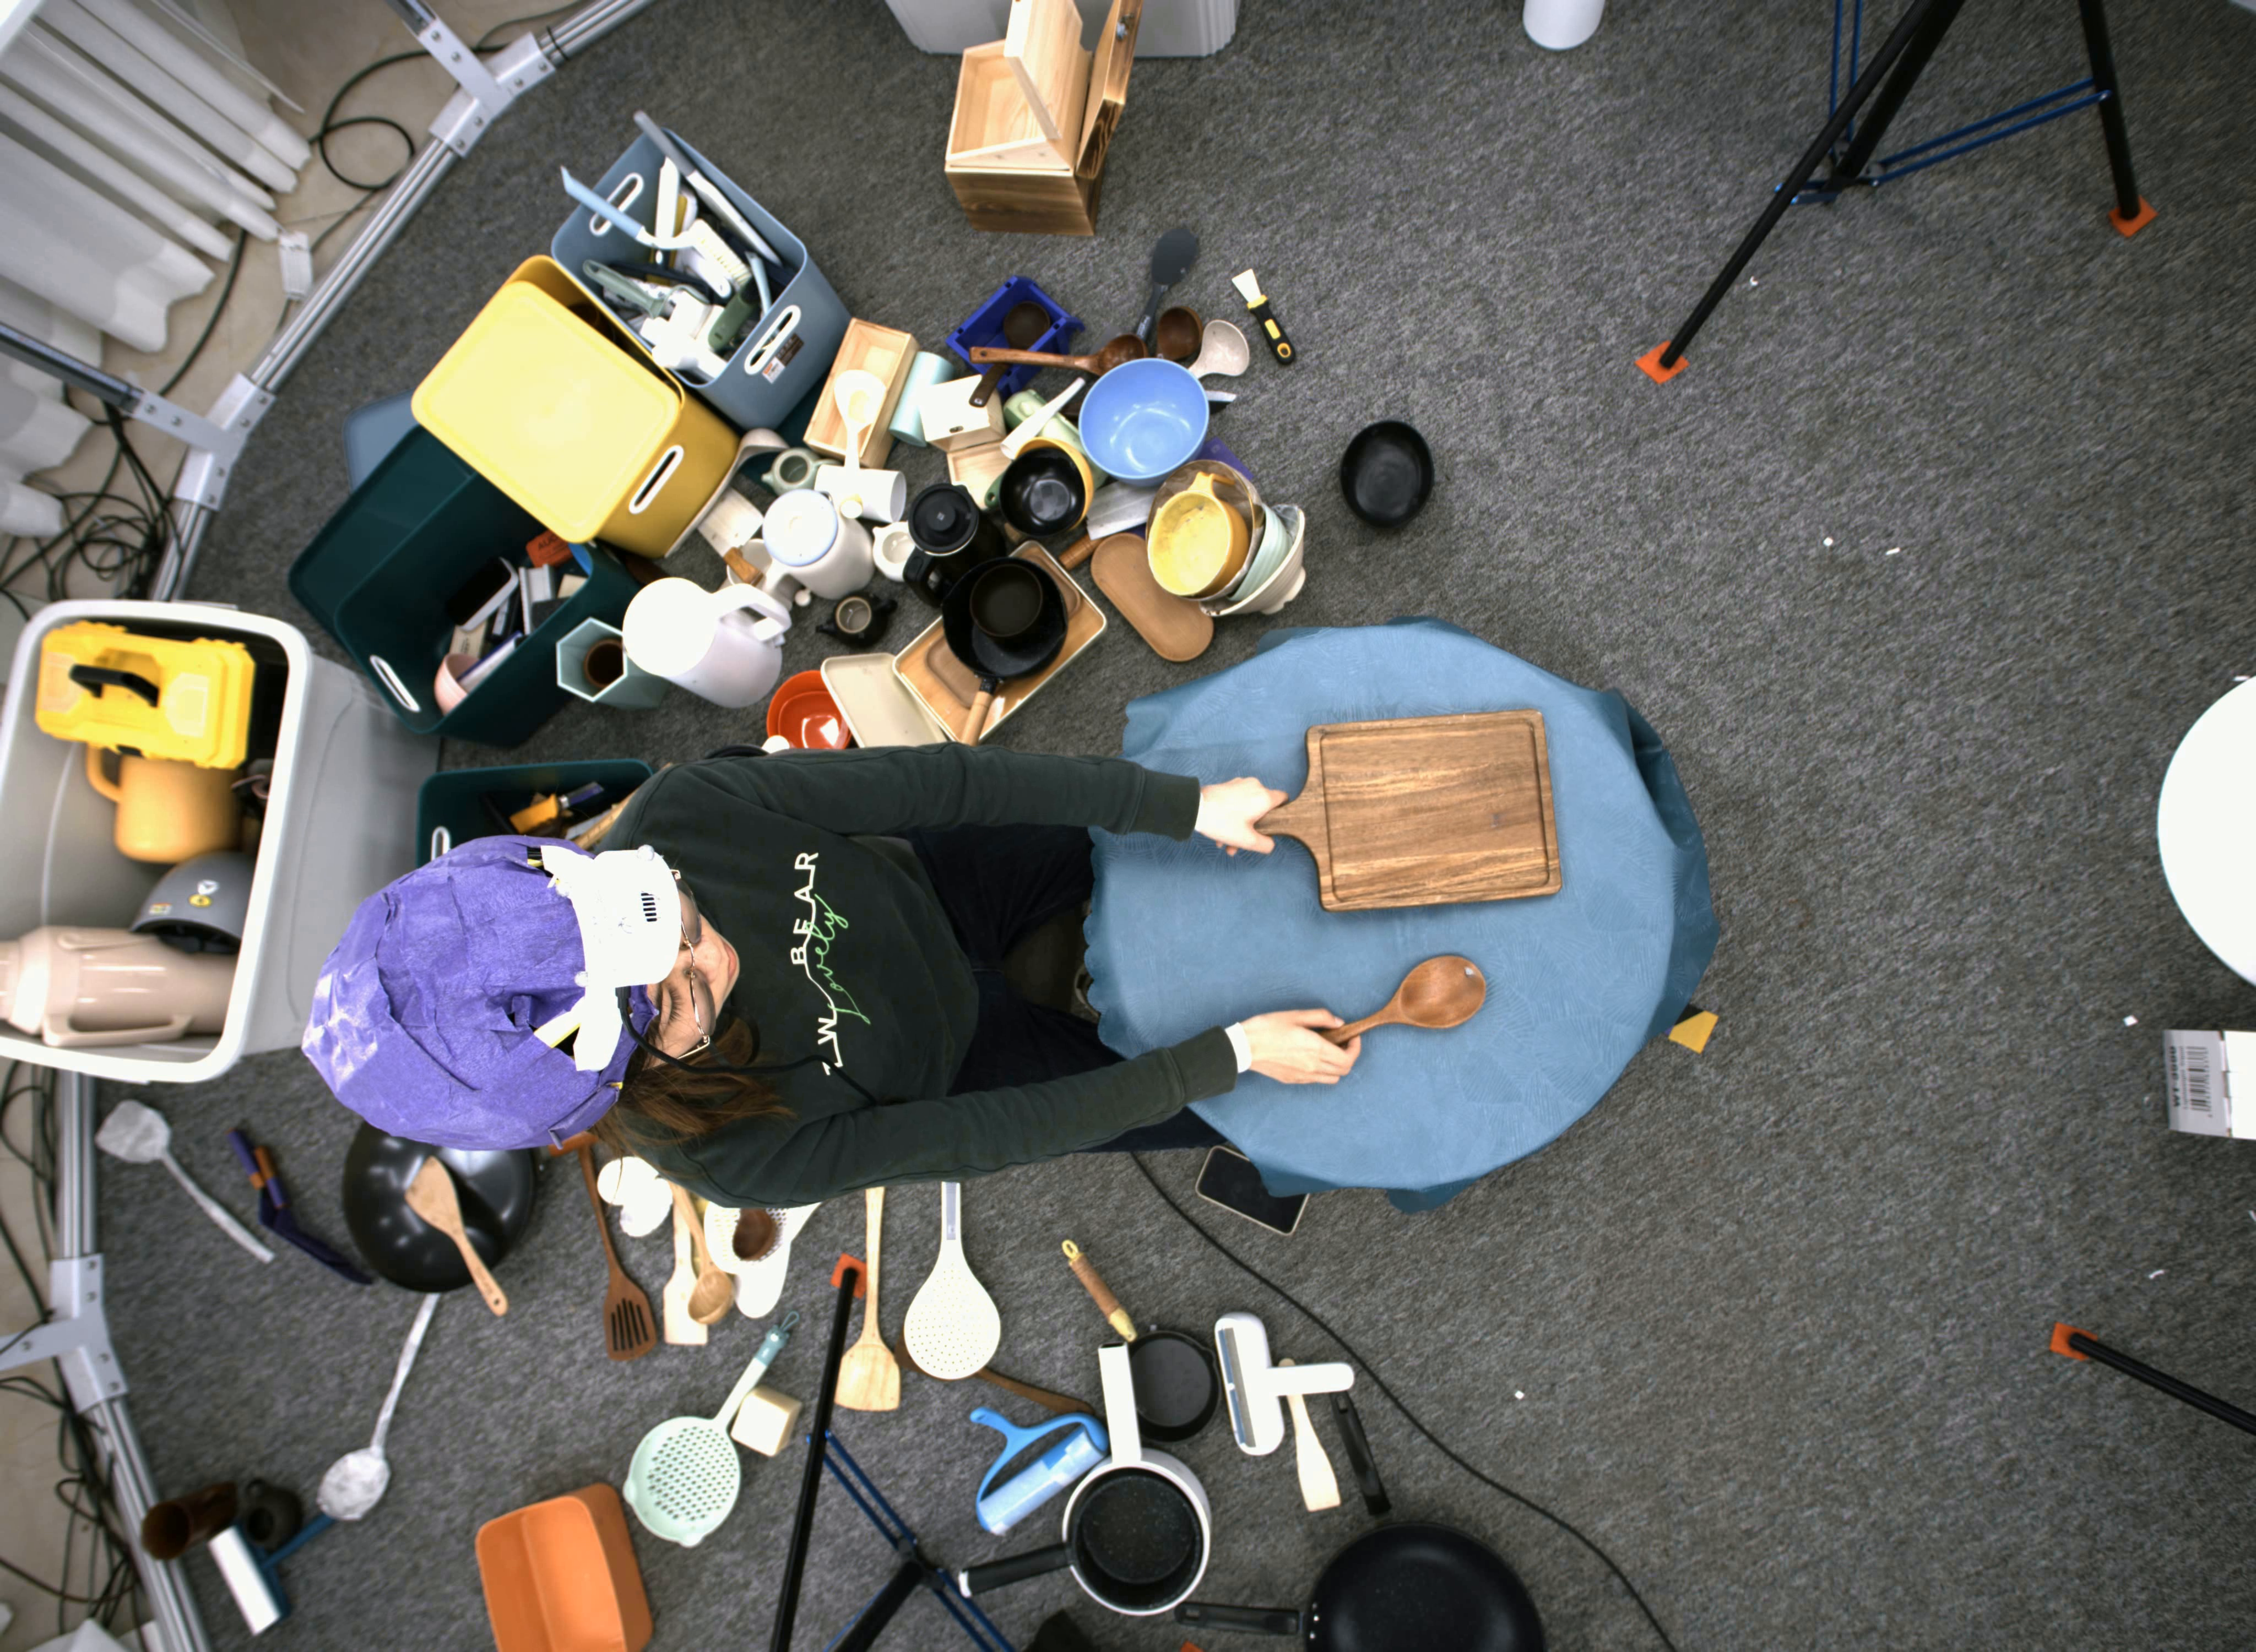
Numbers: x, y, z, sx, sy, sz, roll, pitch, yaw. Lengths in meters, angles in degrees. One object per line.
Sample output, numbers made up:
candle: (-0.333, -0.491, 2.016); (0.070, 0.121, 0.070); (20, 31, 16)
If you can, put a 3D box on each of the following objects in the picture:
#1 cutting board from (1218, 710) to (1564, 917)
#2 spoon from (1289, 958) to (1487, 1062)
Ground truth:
cutting board: (0.269, -0.011, 1.435); (0.353, 0.023, 0.200); (-5, 86, 1)
spoon: (0.270, 0.197, 1.441); (0.216, 0.017, 0.075); (-21, 78, 4)
